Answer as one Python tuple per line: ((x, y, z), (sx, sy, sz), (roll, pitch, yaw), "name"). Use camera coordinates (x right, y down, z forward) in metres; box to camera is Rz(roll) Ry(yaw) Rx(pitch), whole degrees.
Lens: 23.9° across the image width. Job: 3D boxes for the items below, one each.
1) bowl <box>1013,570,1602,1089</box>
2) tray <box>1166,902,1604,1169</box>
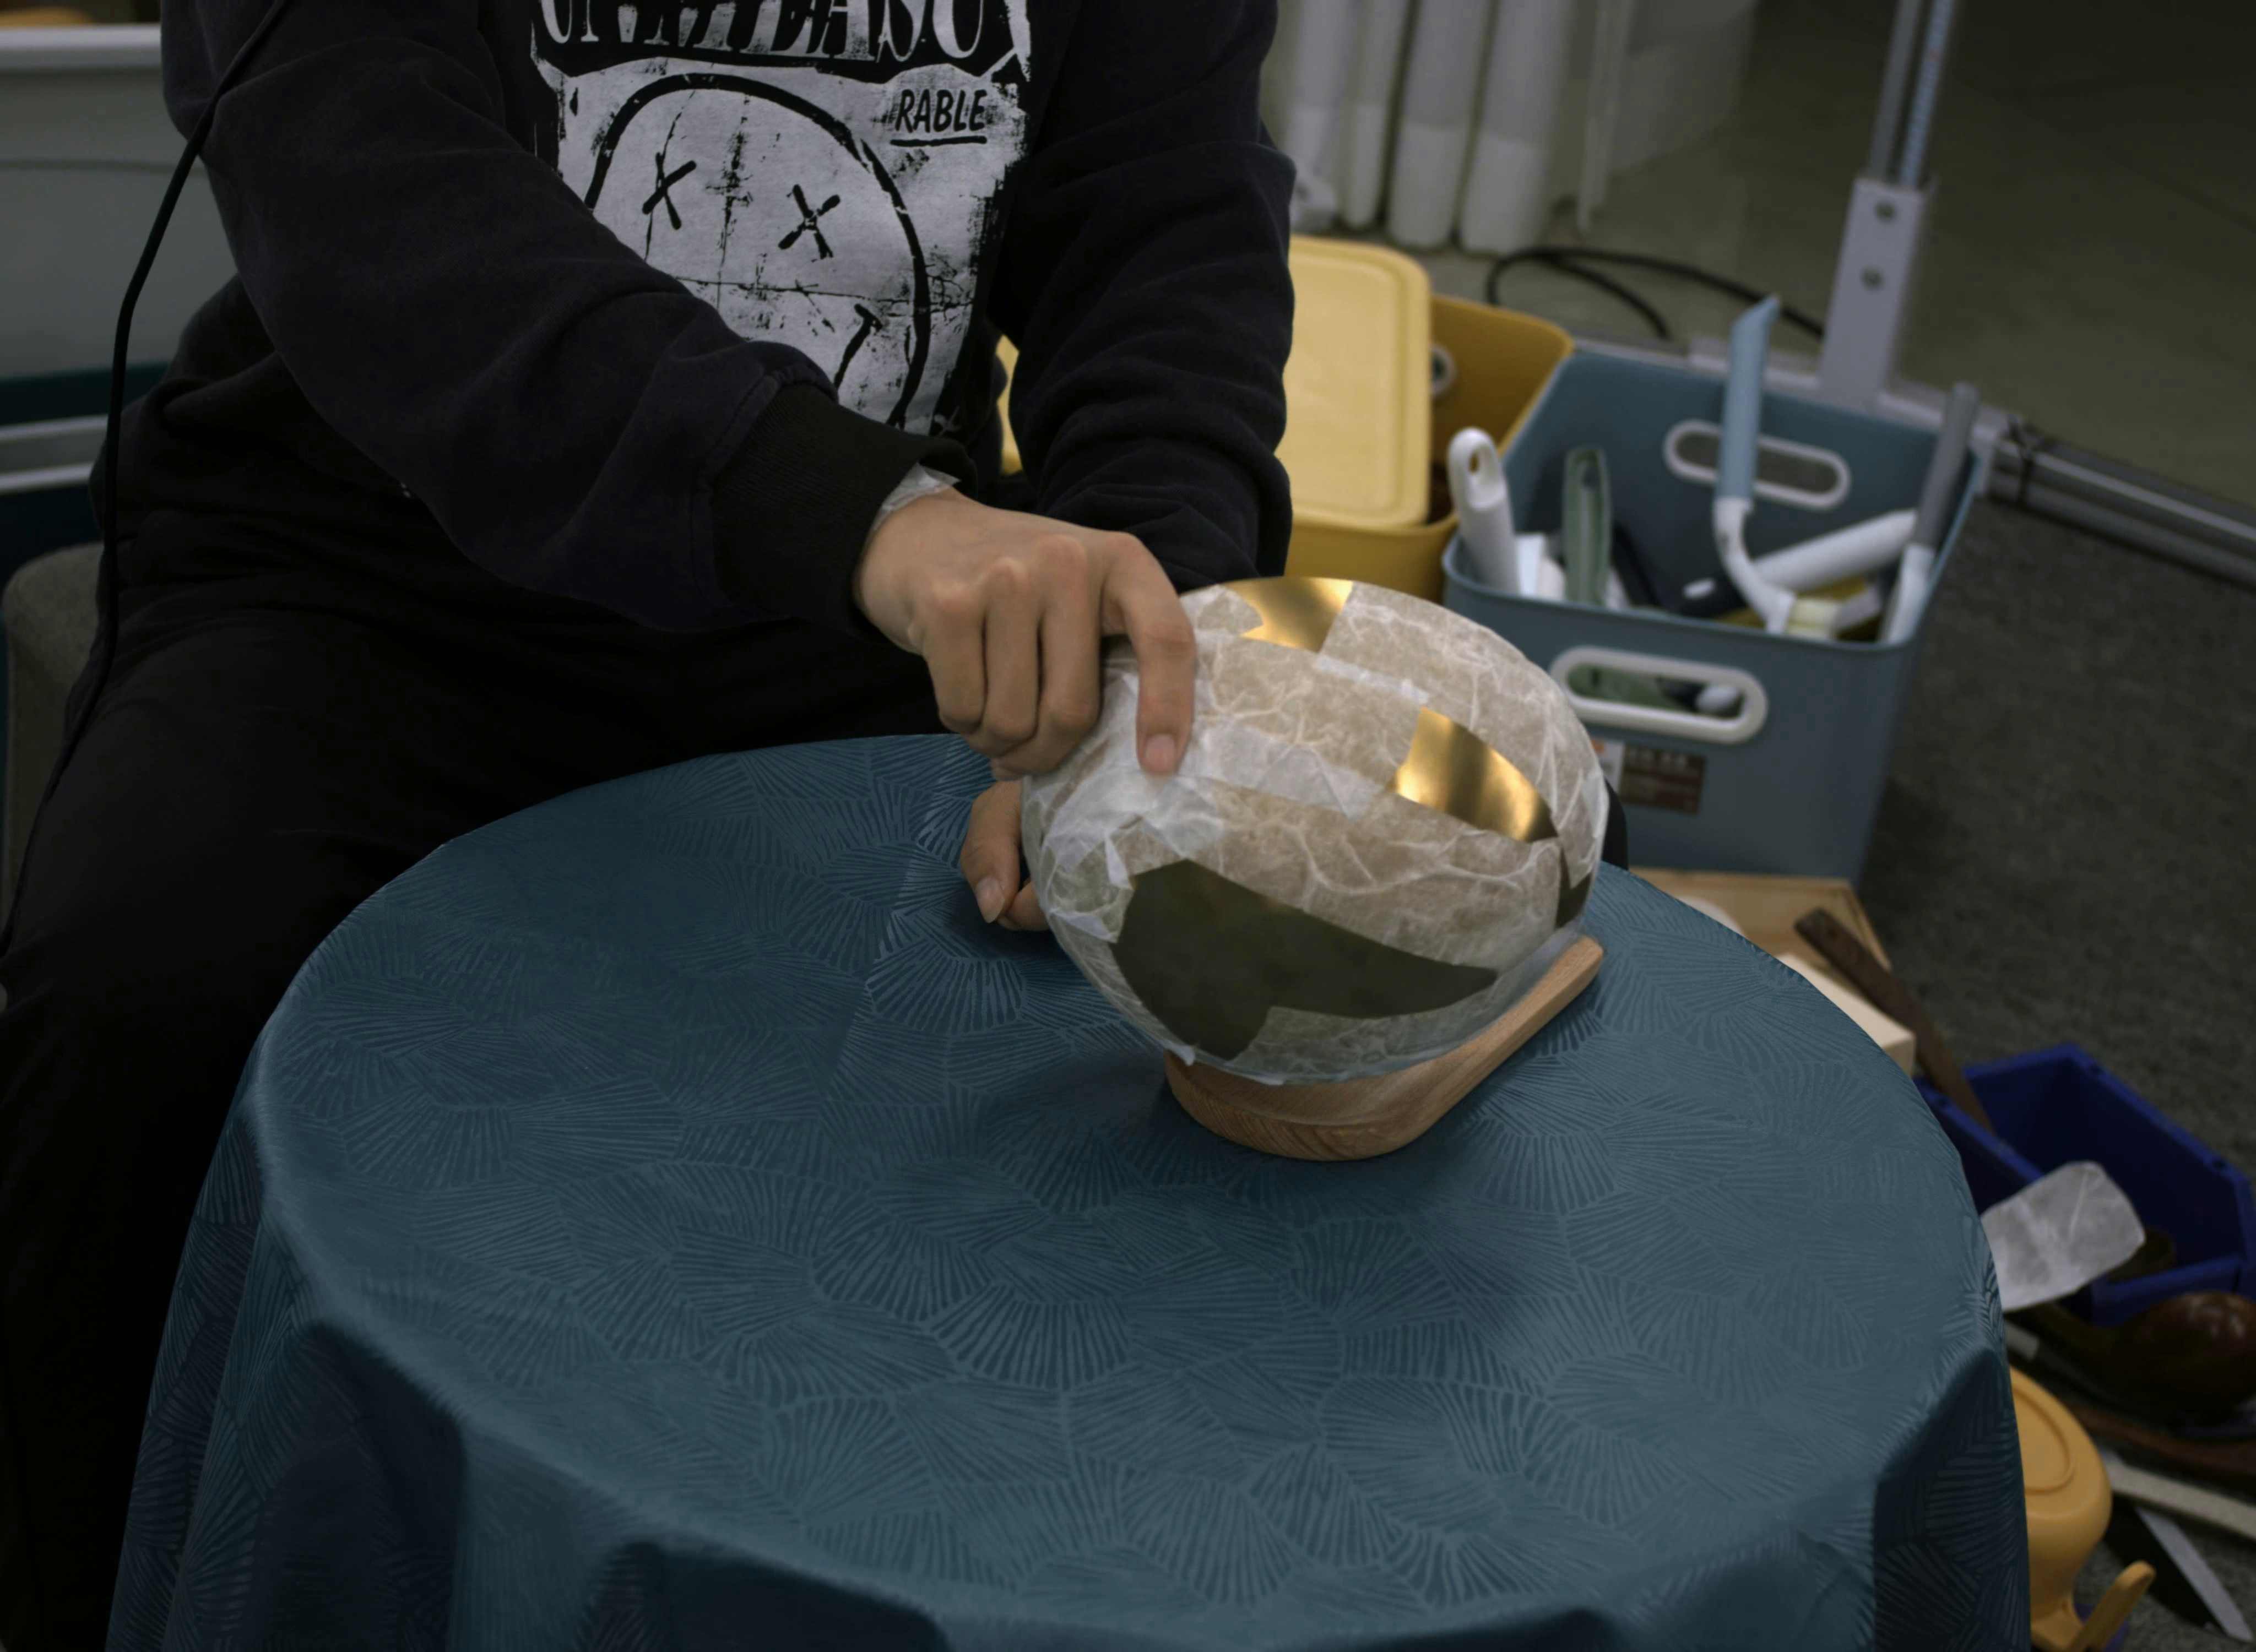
((0.054, 0.022, 1.794), (0.214, 0.213, 0.095), (8, 44, 2), "bowl")
((0.095, 0.067, 1.917), (0.102, 0.020, 0.231), (17, 30, 24), "tray")
